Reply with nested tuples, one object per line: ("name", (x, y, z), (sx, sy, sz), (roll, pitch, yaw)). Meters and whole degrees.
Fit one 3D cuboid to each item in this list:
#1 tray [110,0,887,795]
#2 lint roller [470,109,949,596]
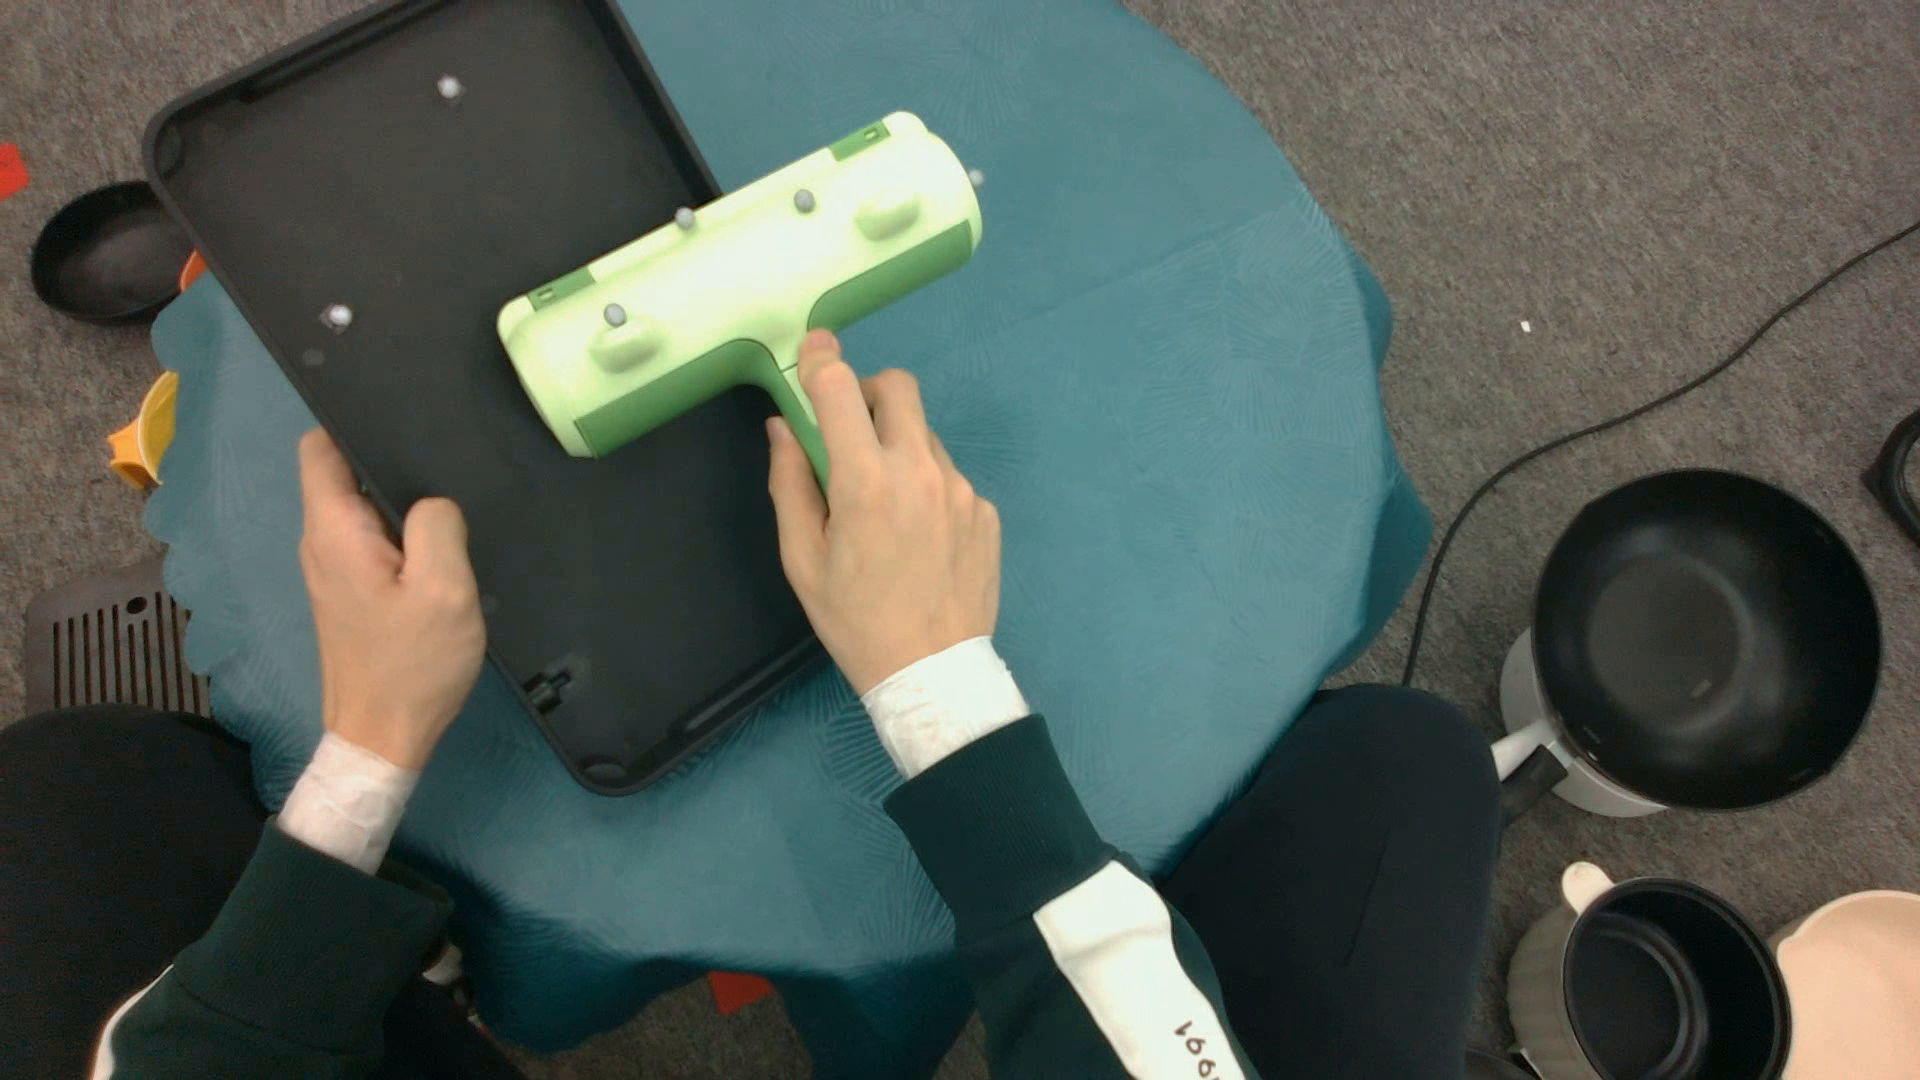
("tray", (-0.172, -0.064, 0.578), (0.185, 0.037, 0.317), (-37, 111, -19))
("lint roller", (-0.067, -0.061, 0.554), (0.199, 0.082, 0.183), (-31, 83, -14))
